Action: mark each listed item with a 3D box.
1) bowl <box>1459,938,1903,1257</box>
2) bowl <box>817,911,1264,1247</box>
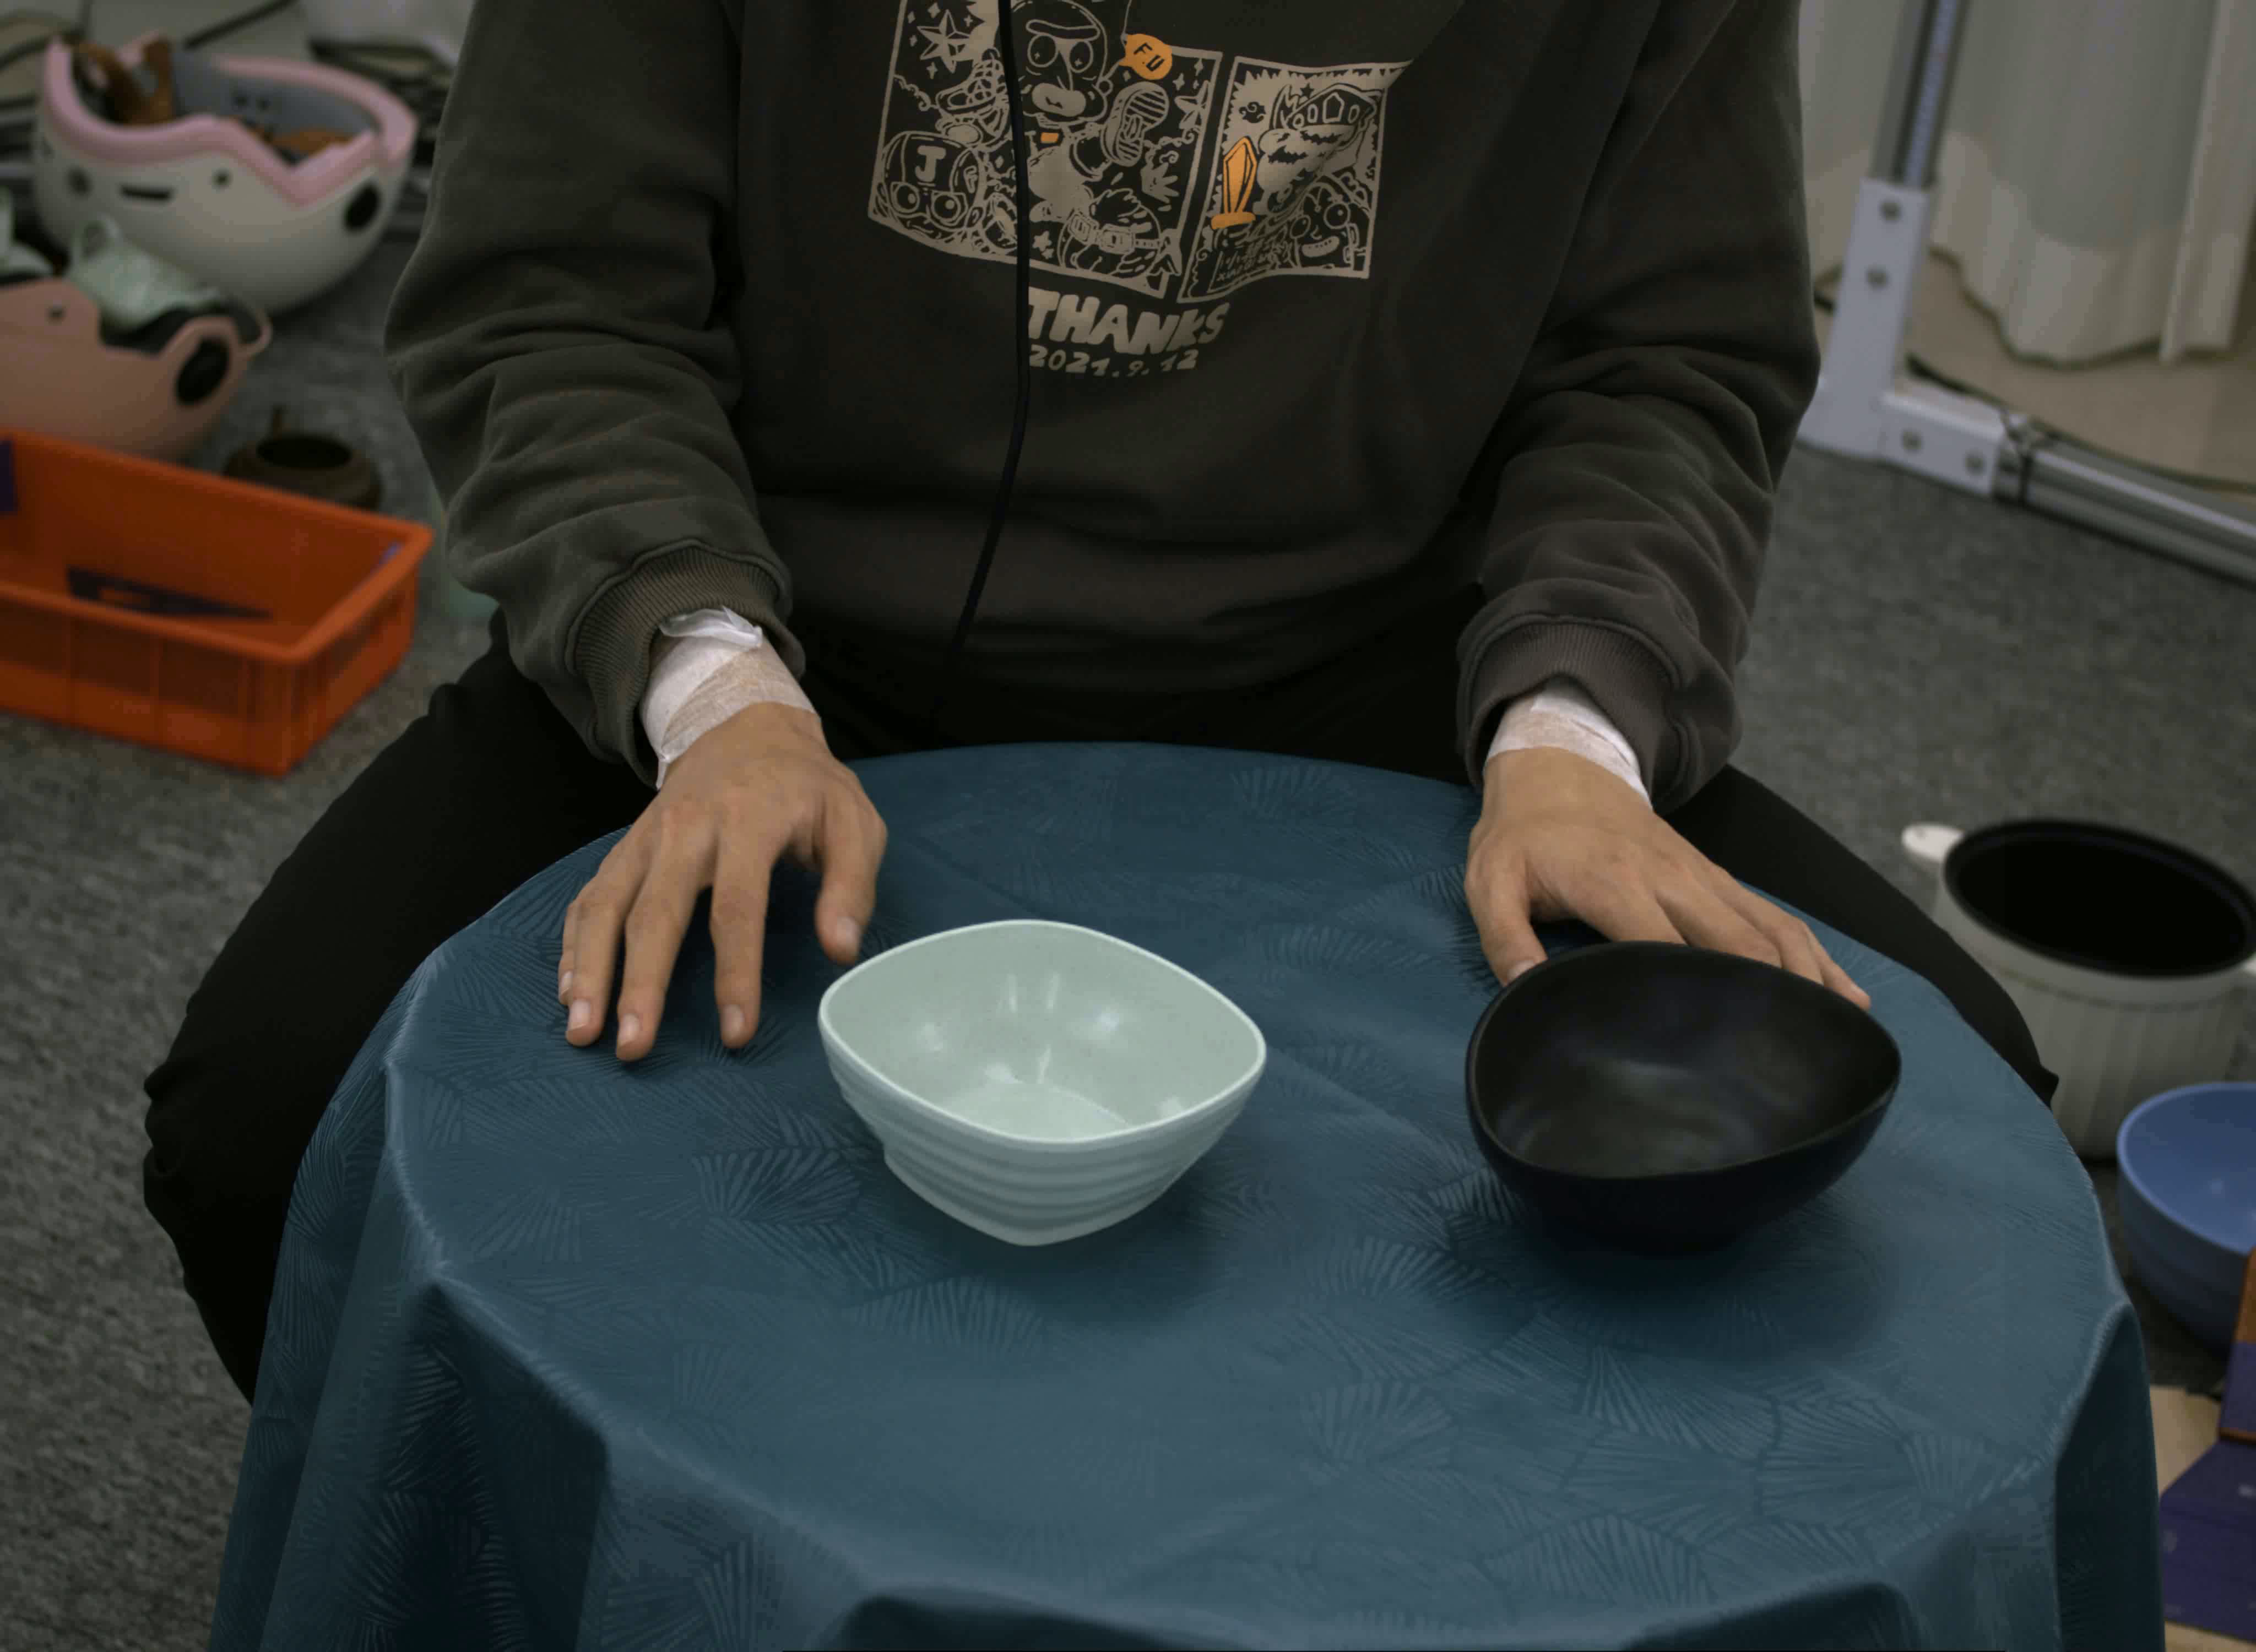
[{"bbox_3d":[0.186,0.103,1.817,0.138,0.066,0.169,27,34,35],"label":"bowl"},{"bbox_3d":[-0.032,0.091,1.796,0.151,0.058,0.152,6,29,-4],"label":"bowl"}]
